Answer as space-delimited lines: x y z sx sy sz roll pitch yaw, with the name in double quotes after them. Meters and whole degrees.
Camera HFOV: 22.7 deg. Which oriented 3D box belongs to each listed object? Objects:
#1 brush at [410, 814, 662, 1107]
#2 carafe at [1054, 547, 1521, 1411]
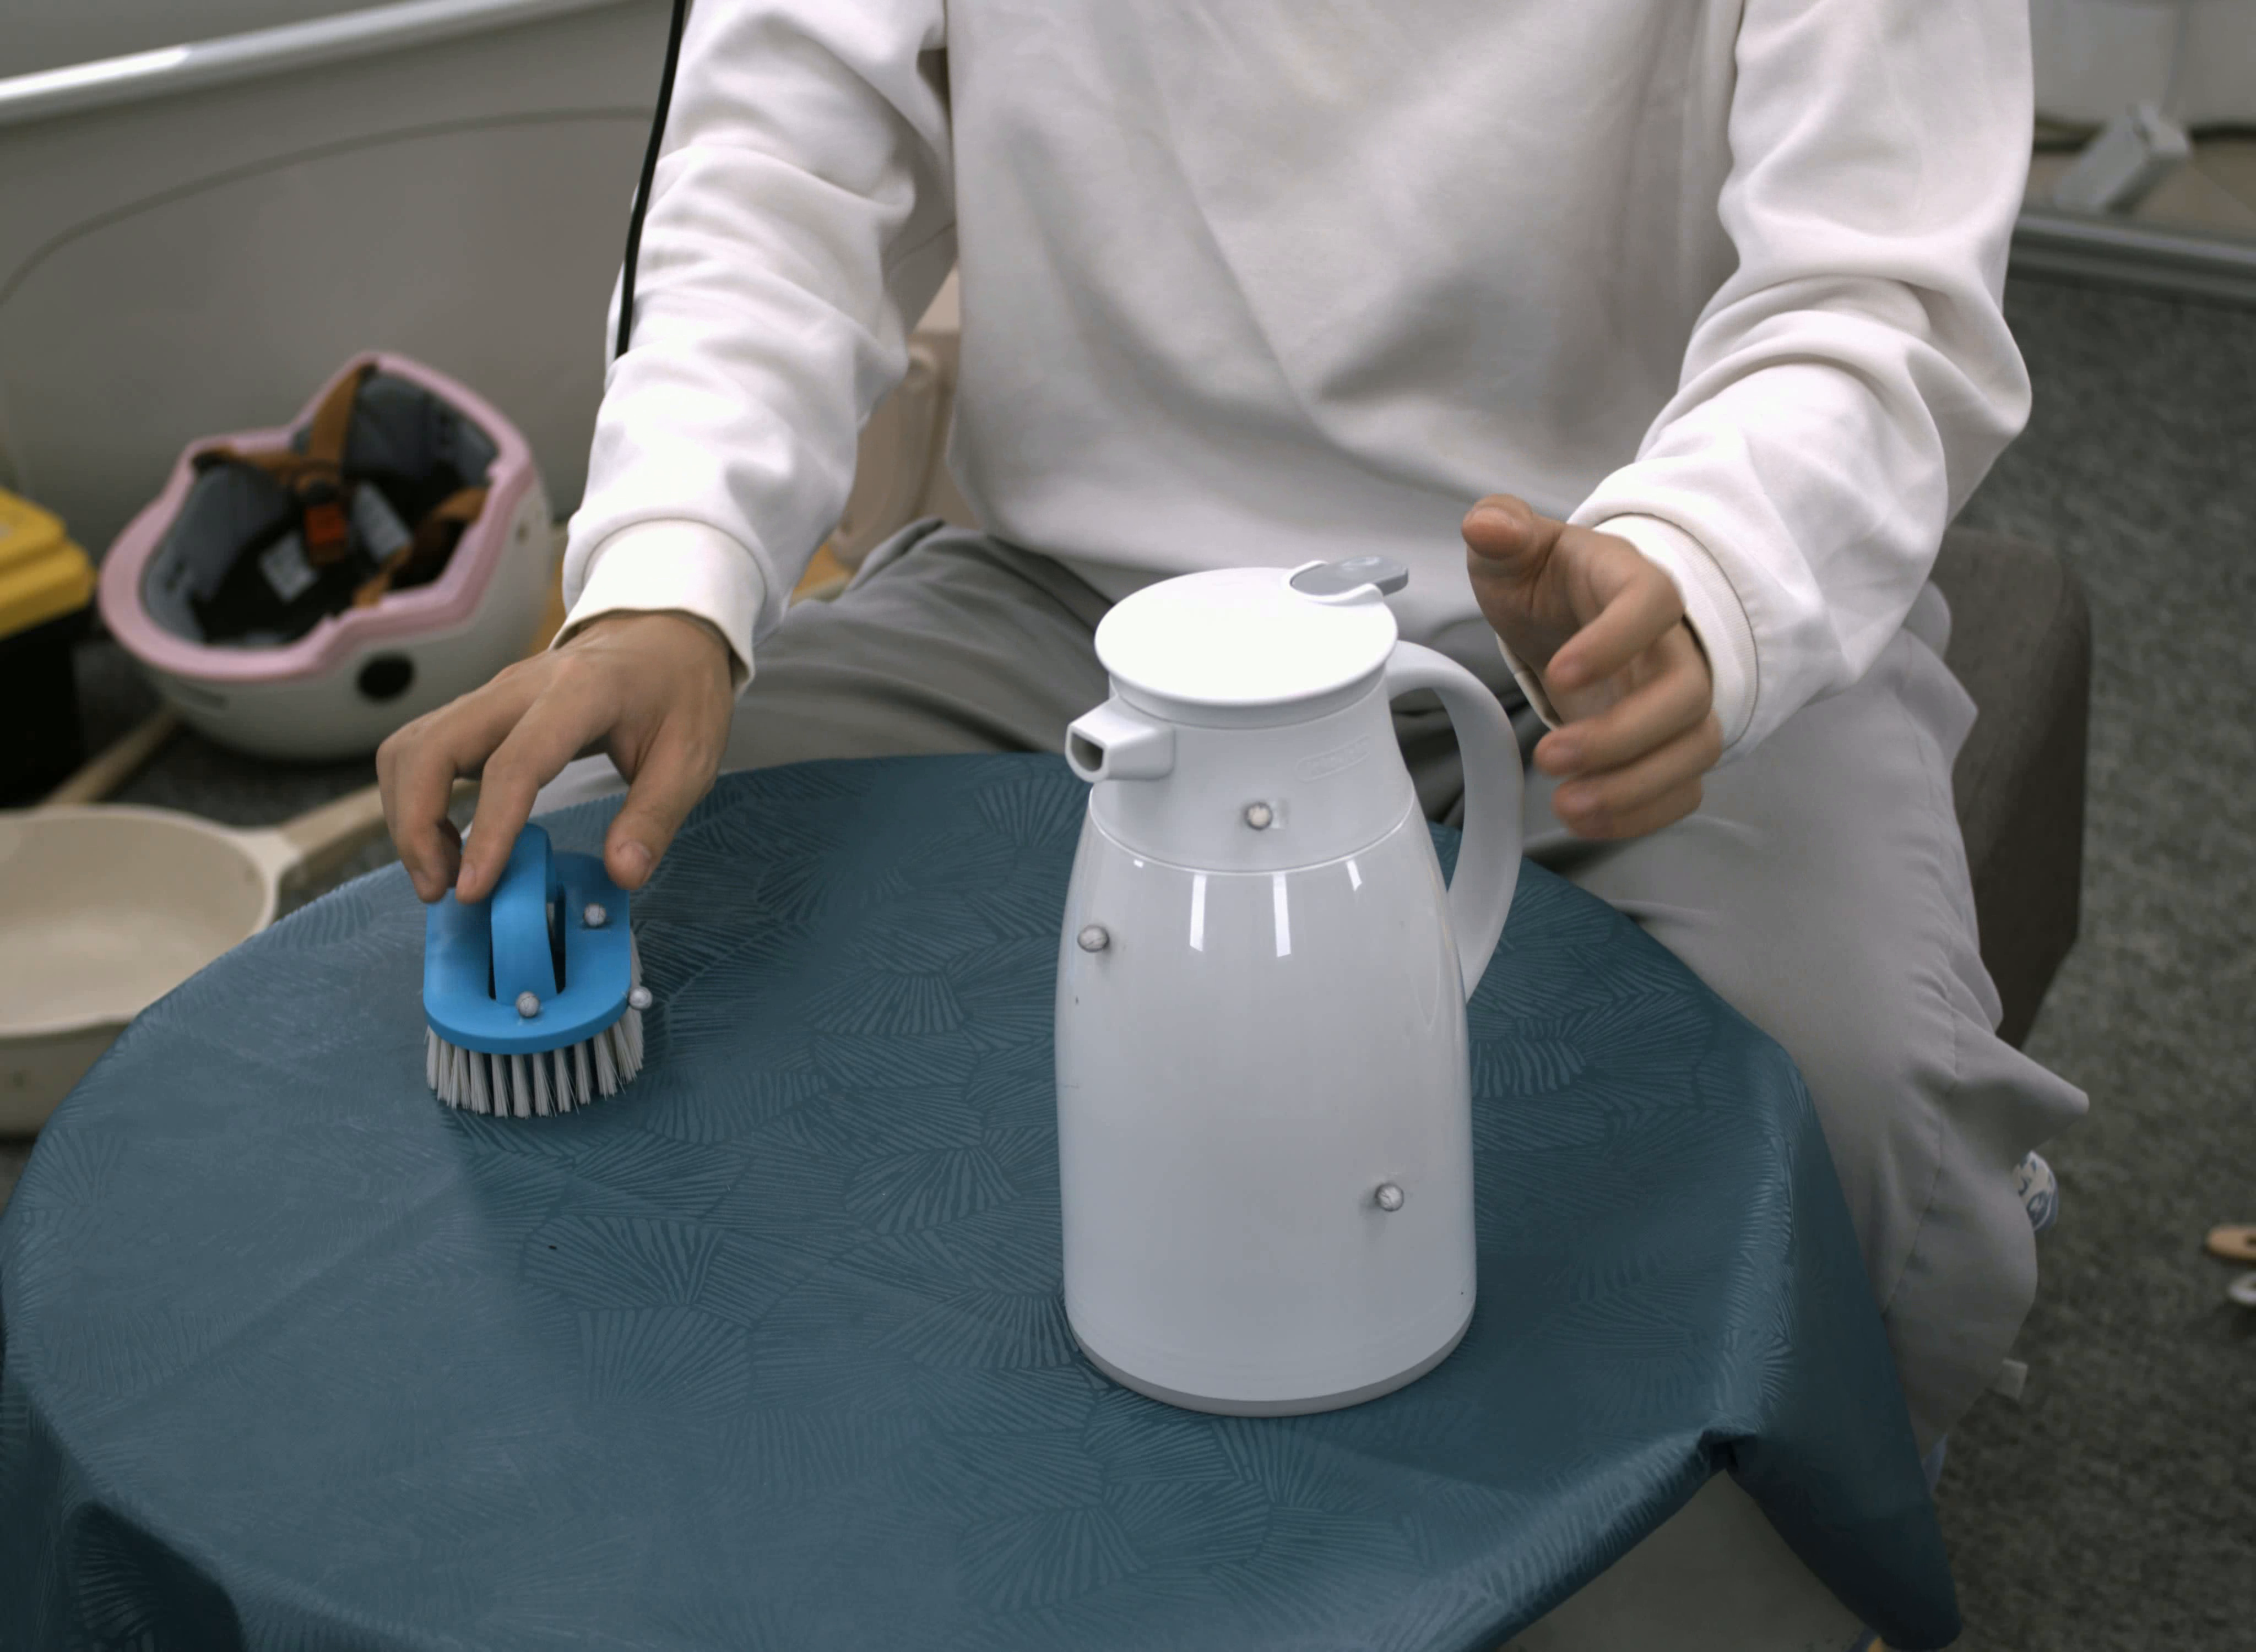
-0.209 0.039 1.971 0.084 0.063 0.144 -8 27 0 "brush"
0.054 0.036 1.757 0.169 0.246 0.132 -21 32 -34 "carafe"
